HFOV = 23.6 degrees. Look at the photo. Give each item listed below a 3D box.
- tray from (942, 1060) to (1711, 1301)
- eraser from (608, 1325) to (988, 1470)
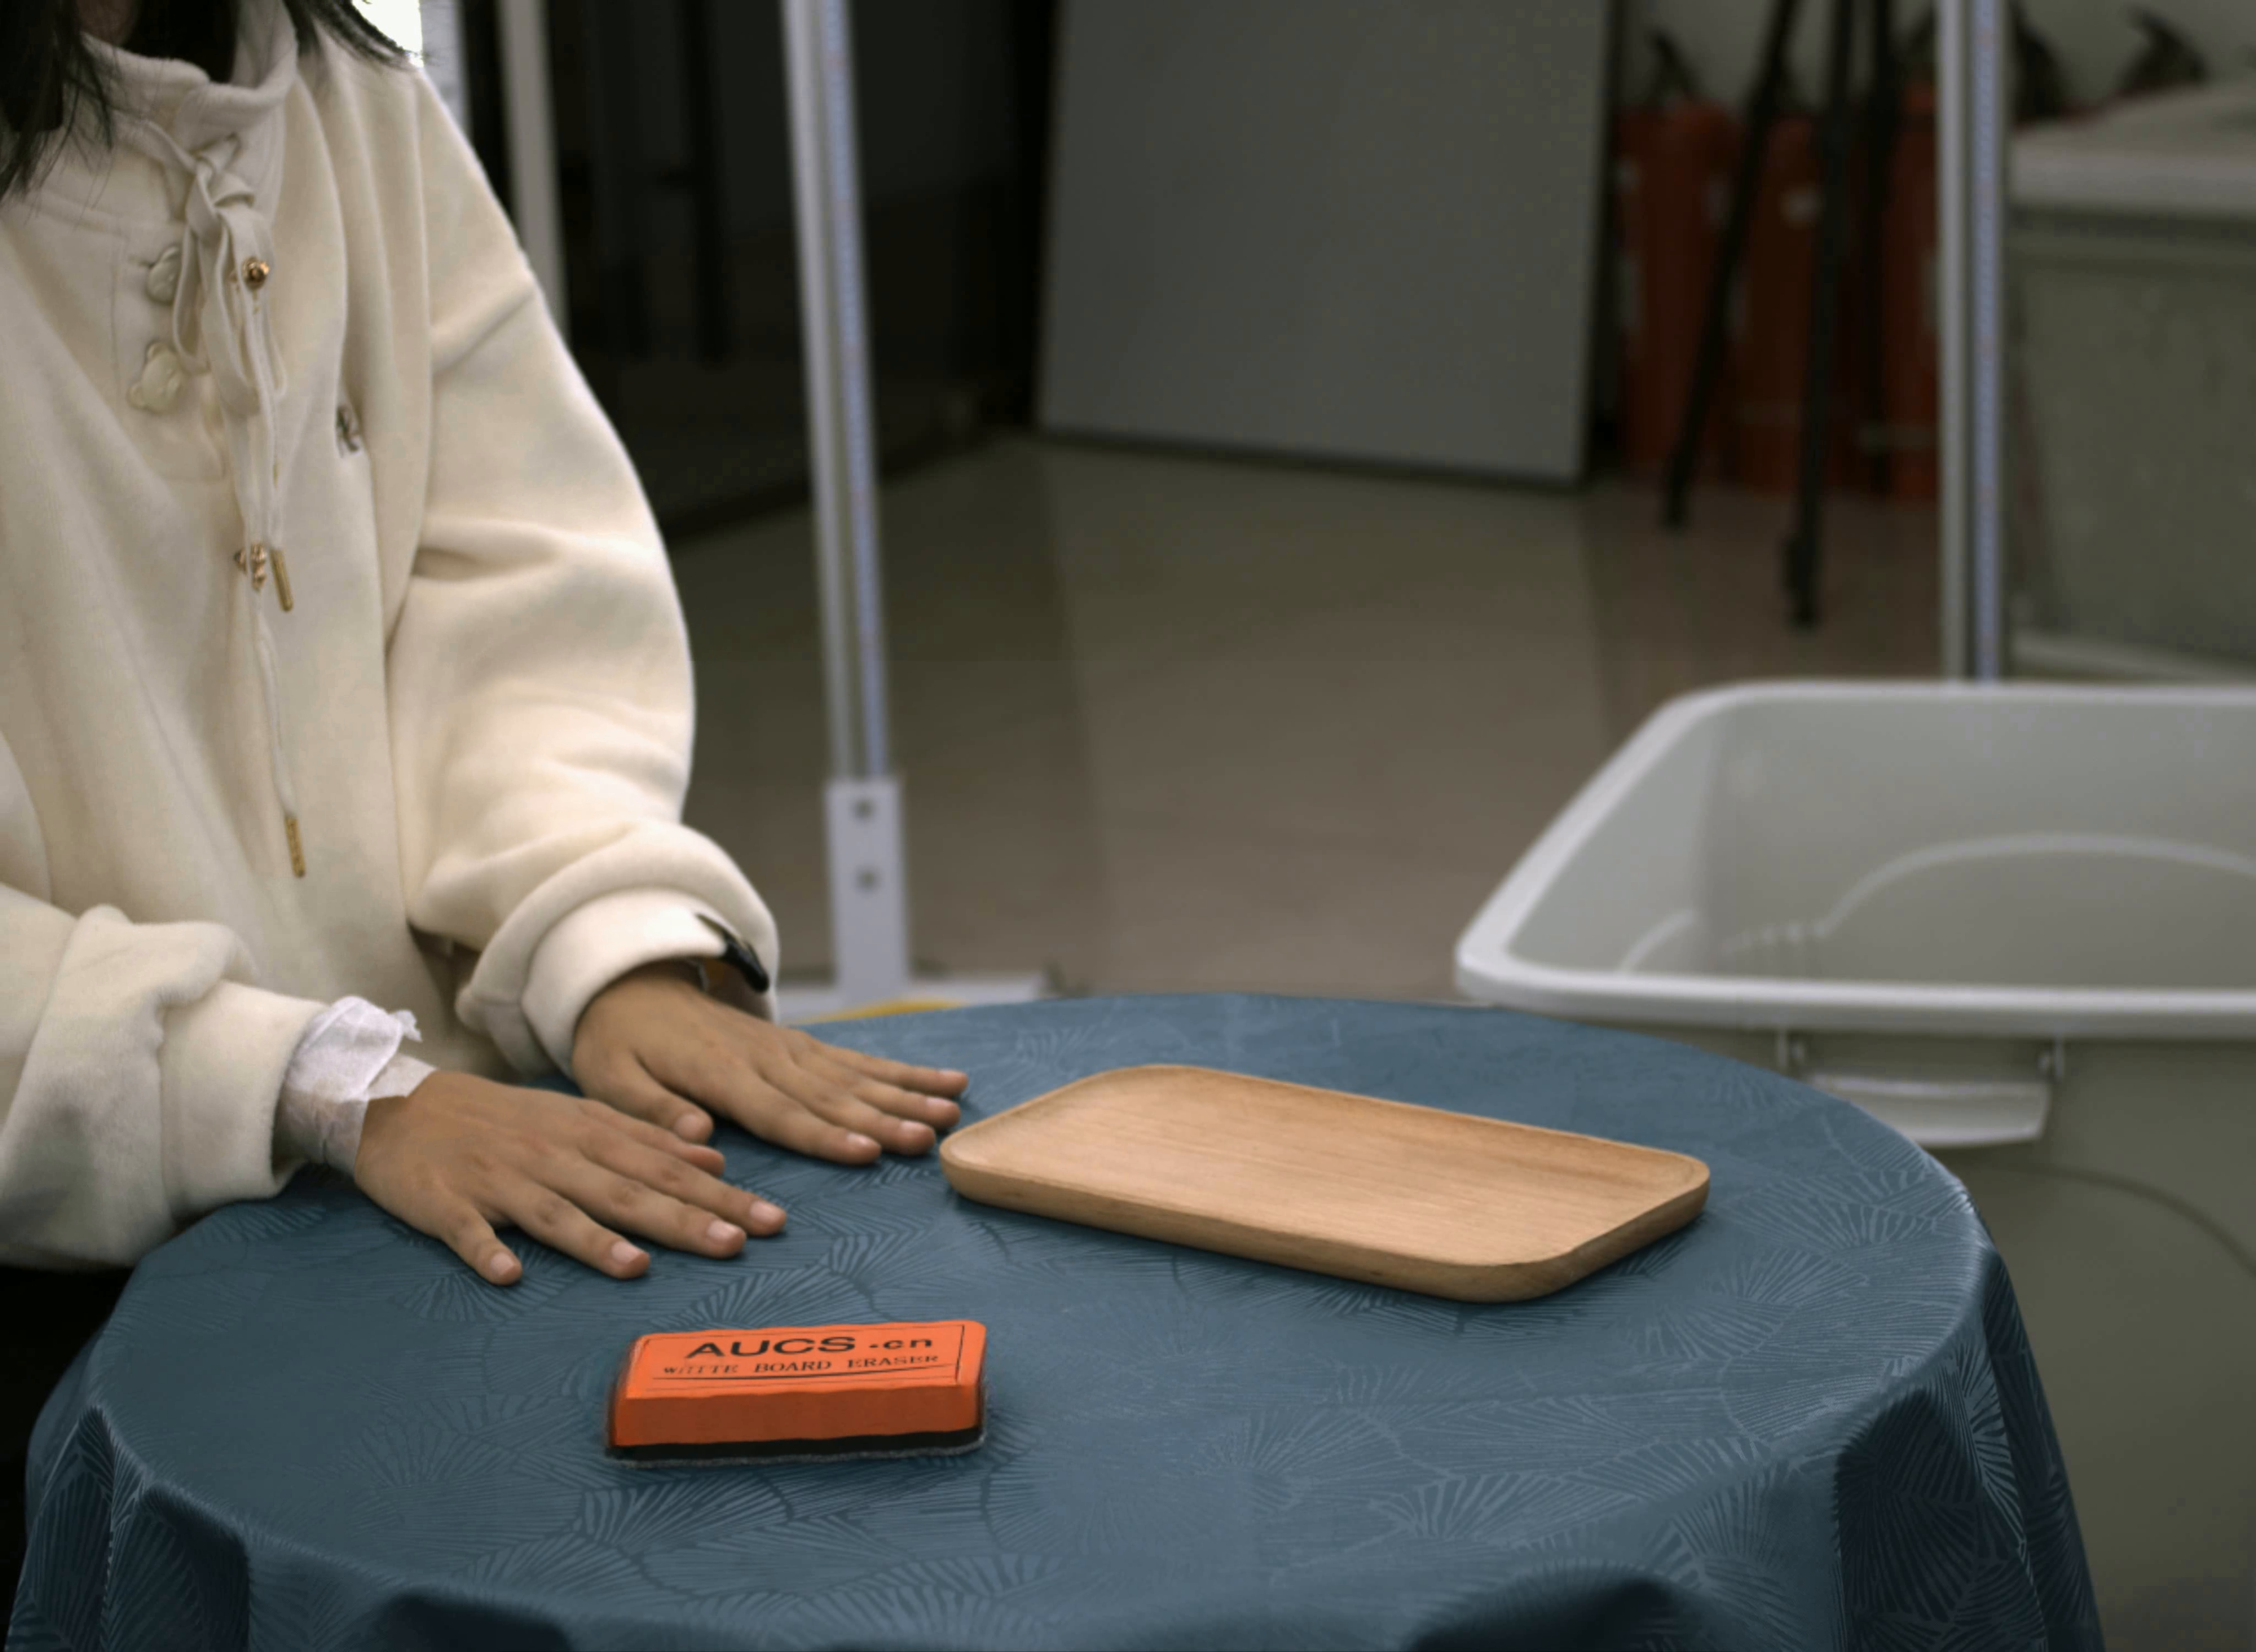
[{"bbox_3d":[0.062,0.113,1.746,0.253,0.023,0.128,8,15,41],"label":"tray"},{"bbox_3d":[-0.095,0.166,1.568,0.107,0.023,0.059,-3,15,5],"label":"eraser"}]
